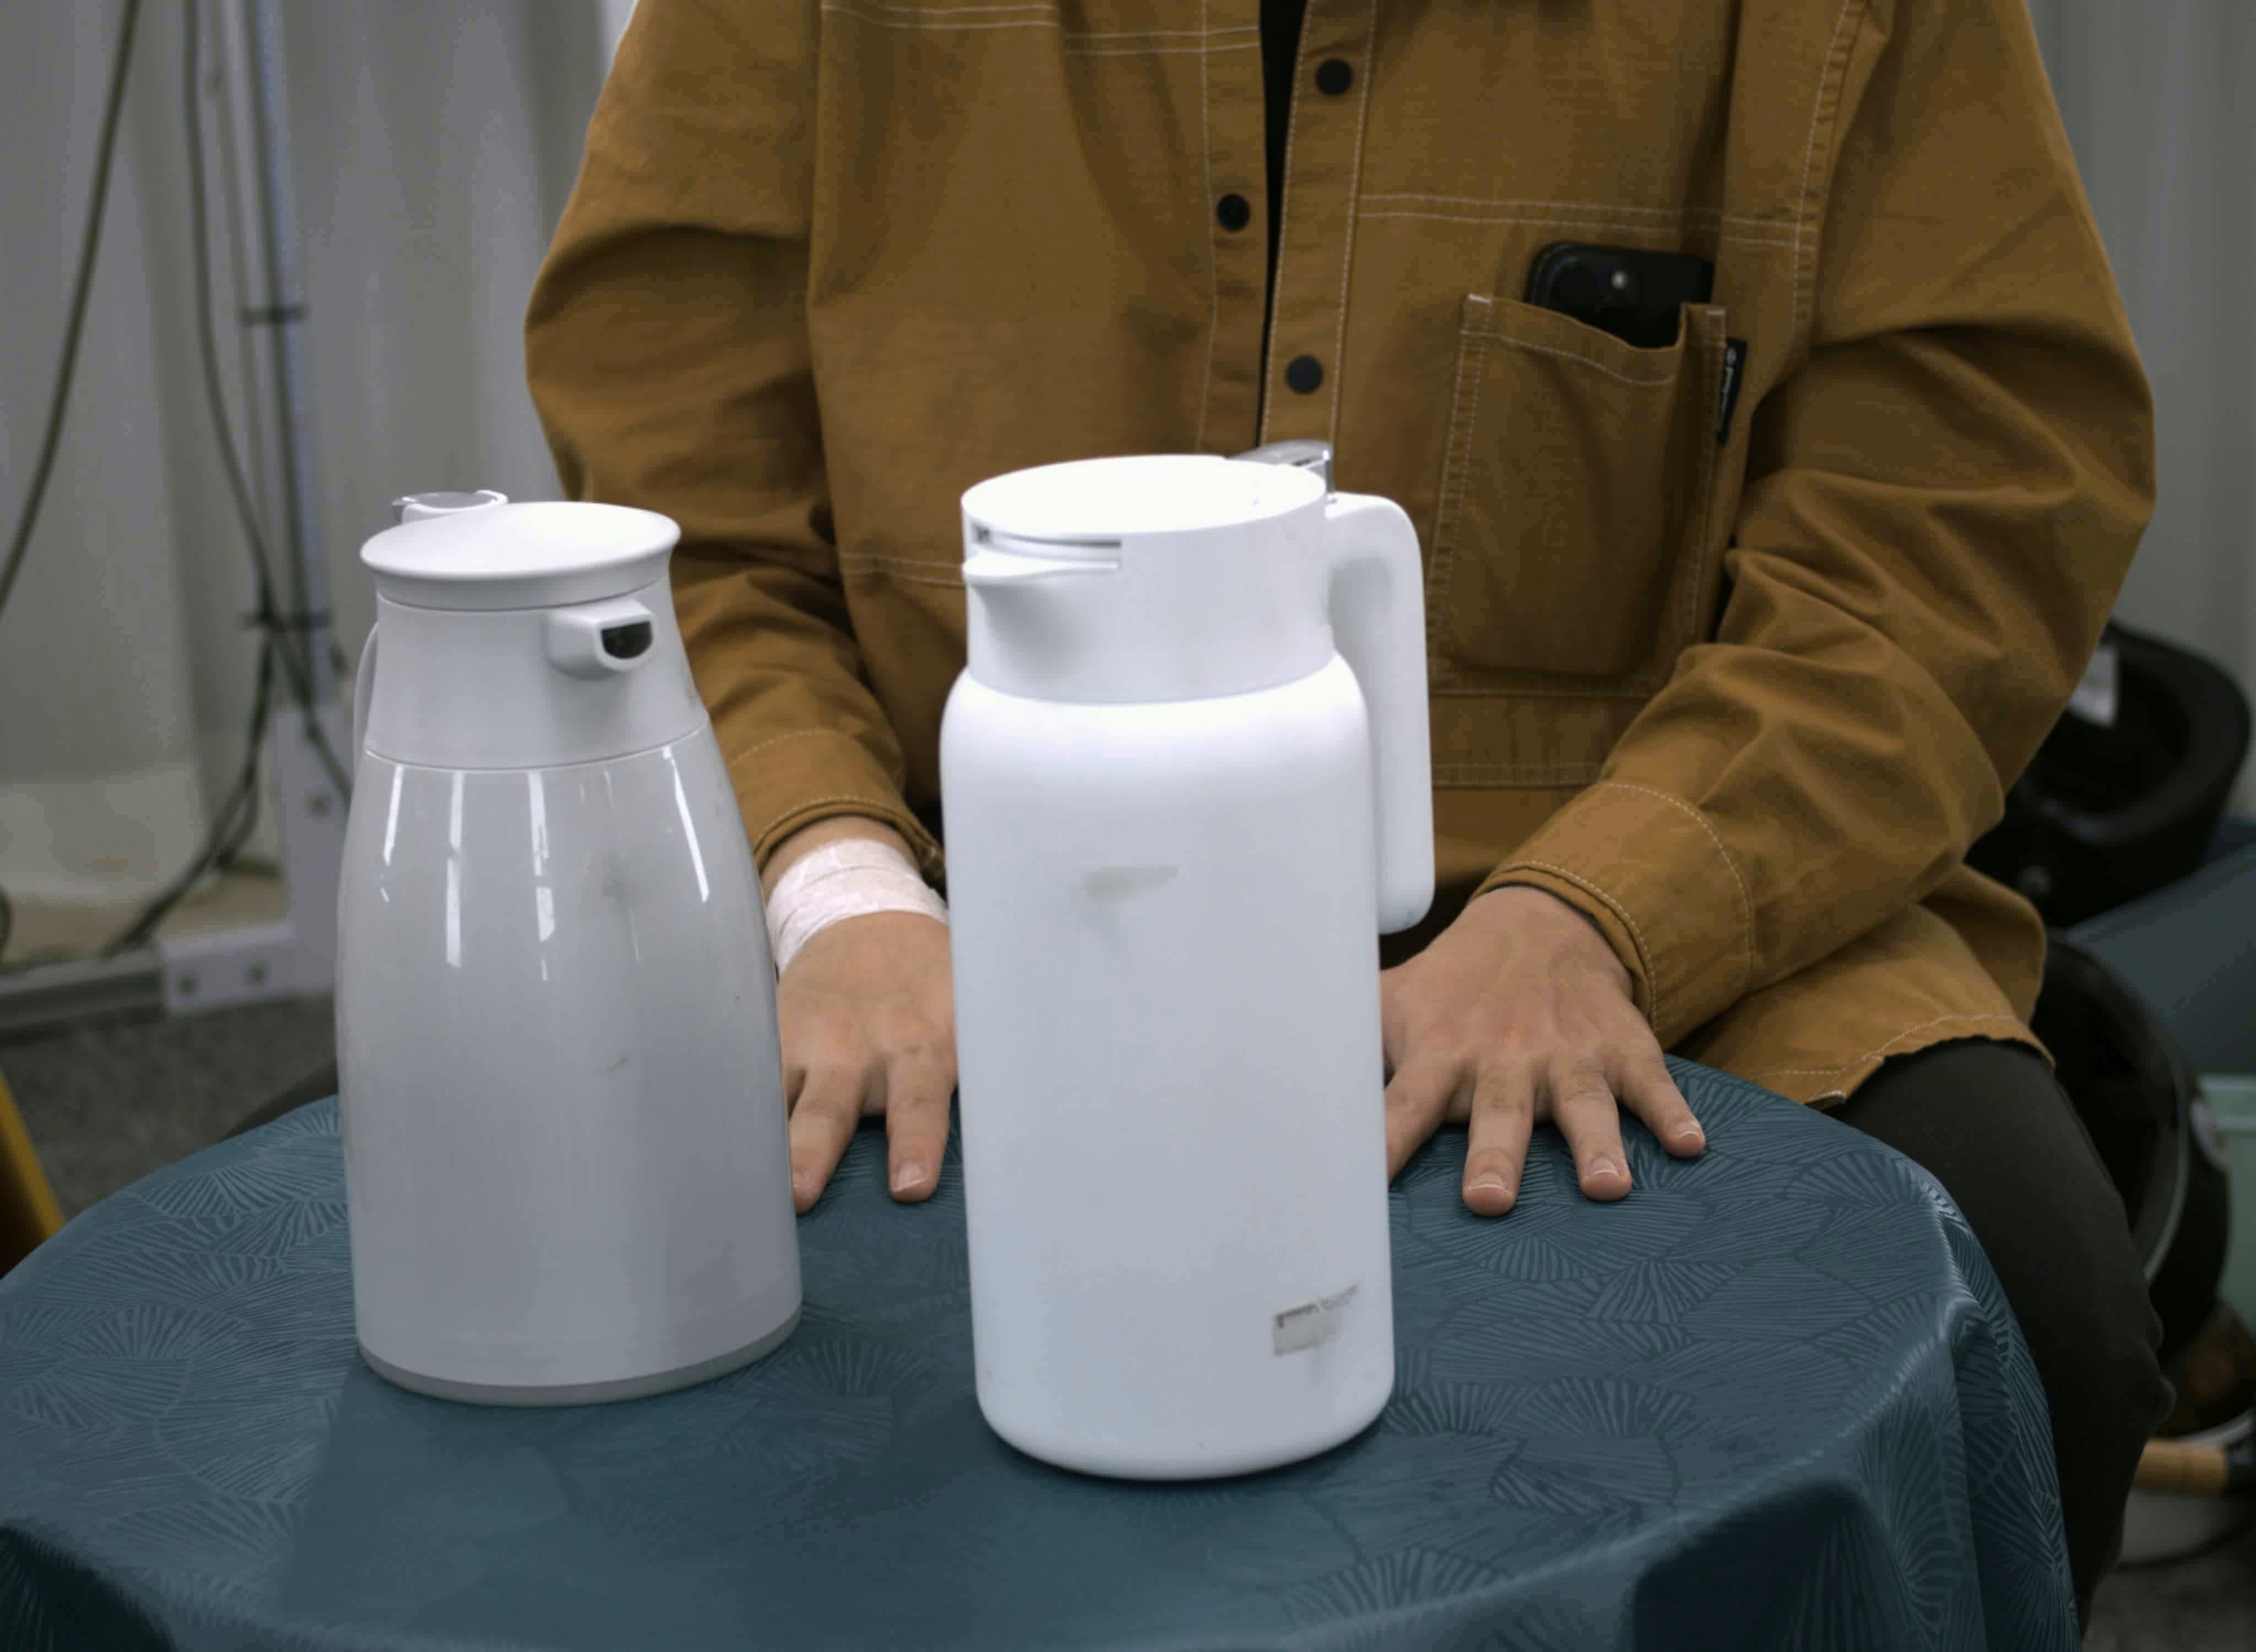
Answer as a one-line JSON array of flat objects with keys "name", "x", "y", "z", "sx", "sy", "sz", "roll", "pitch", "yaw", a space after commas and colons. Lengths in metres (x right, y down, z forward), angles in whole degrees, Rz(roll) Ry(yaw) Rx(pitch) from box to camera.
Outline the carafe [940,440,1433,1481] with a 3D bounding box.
[{"name": "carafe", "x": 0.020, "y": 0.032, "z": 1.505, "sx": 0.124, "sy": 0.268, "sz": 0.172, "roll": 6, "pitch": 16, "yaw": 40}]

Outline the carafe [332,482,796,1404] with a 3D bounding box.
[{"name": "carafe", "x": -0.179, "y": 0.026, "z": 1.603, "sx": 0.132, "sy": 0.248, "sz": 0.169, "roll": -11, "pitch": 15, "yaw": -32}]
